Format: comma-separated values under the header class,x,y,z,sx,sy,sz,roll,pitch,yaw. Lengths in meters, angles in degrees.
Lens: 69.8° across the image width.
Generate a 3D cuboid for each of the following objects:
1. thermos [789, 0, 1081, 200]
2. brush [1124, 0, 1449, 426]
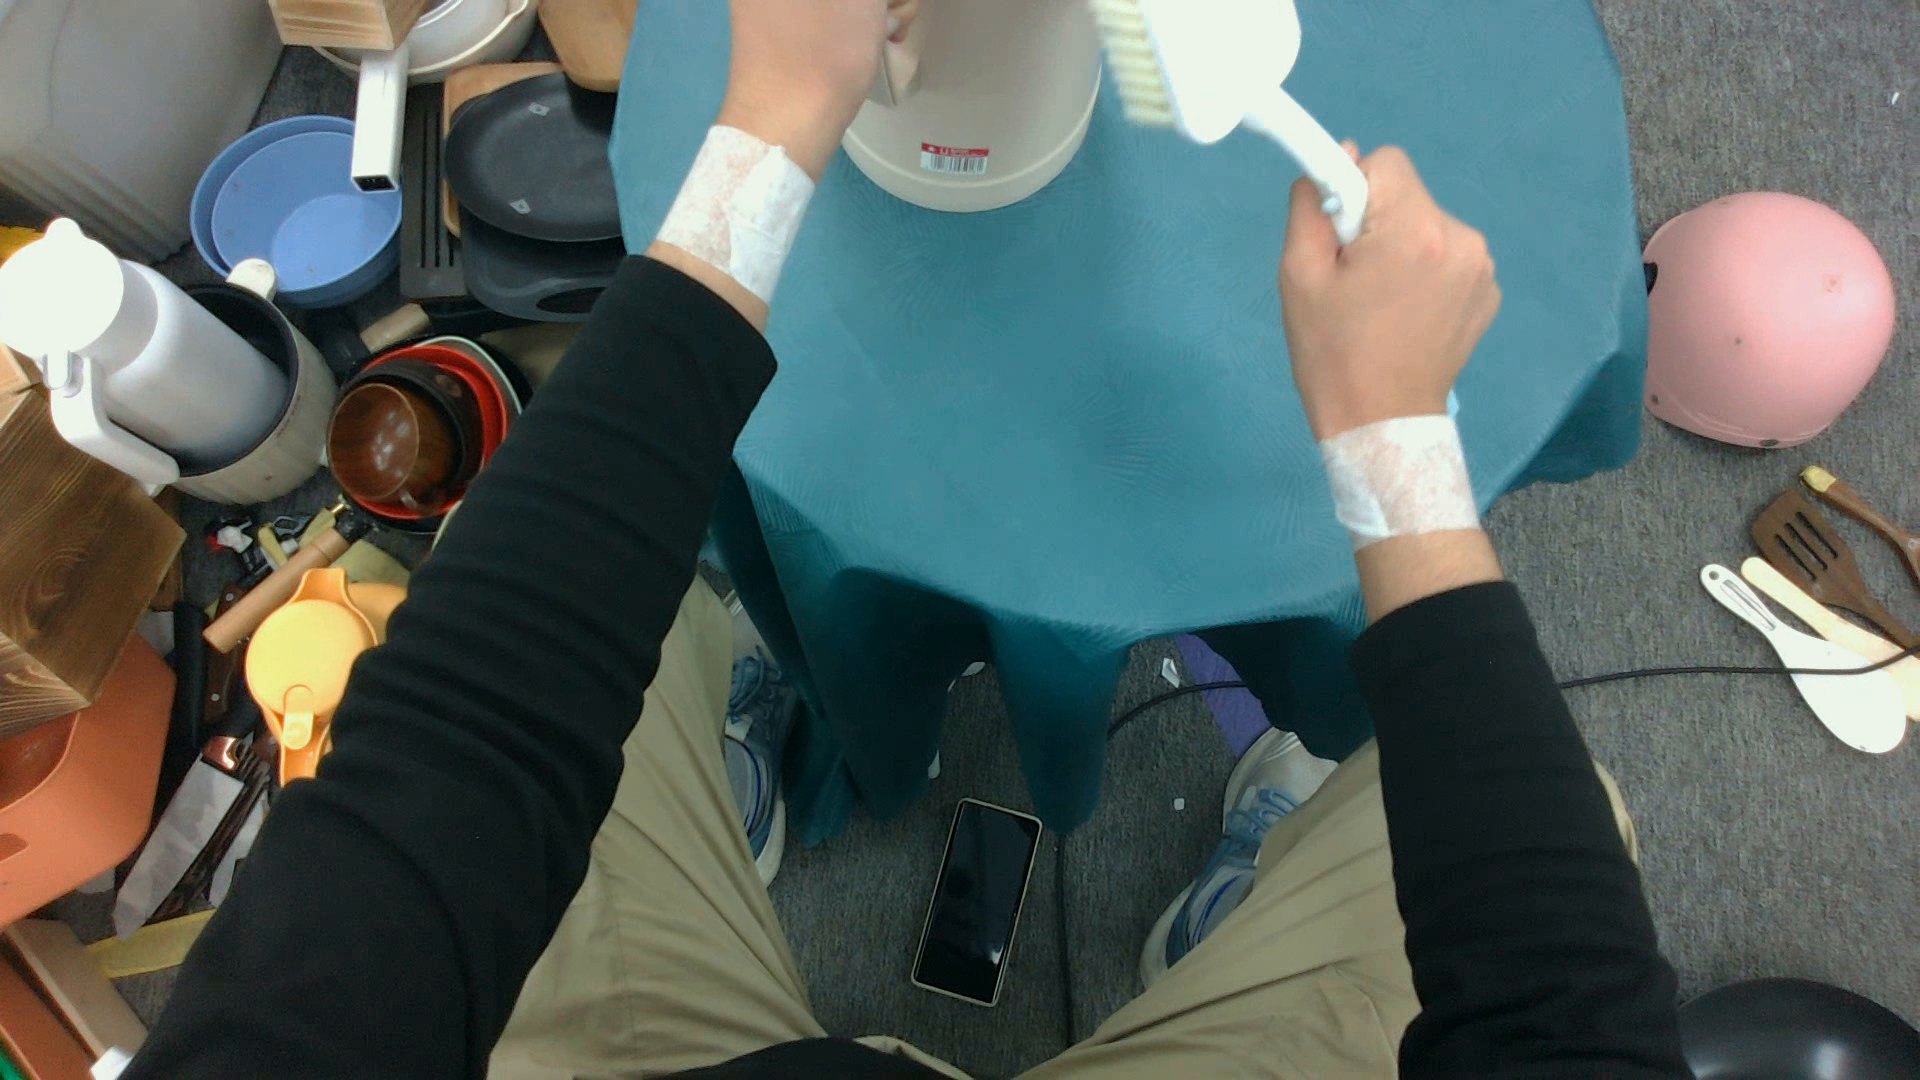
class,x,y,z,sx,sy,sz,roll,pitch,yaw
thermos,-0.015,-0.307,0.621,0.175,0.405,0.207,25,76,2
brush,0.136,-0.172,0.596,0.083,0.324,0.085,-17,43,20
